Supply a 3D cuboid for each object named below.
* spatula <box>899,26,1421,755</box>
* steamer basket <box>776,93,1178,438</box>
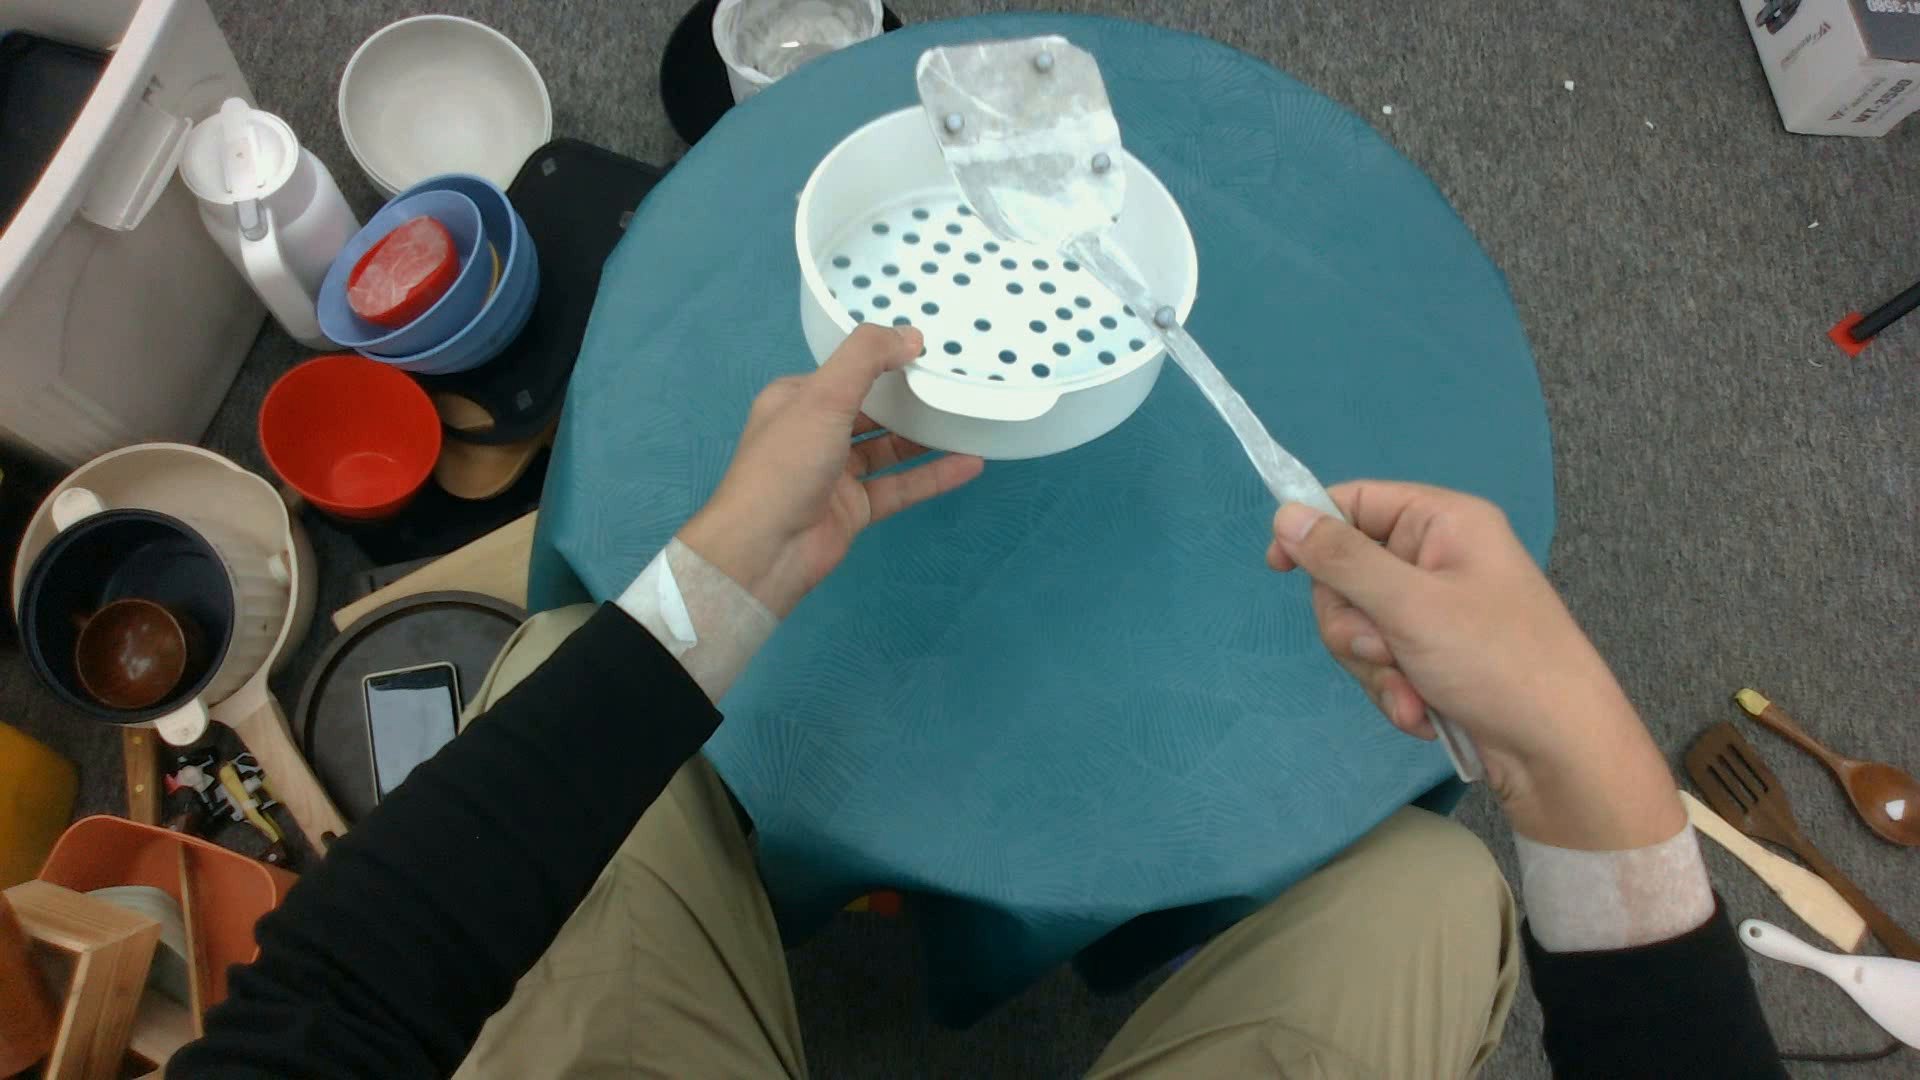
[{"bbox_3d":[0.086,-0.078,0.553,0.099,0.044,0.365,-14,59,-32],"label":"spatula"},{"bbox_3d":[0.007,-0.143,0.711,0.202,0.069,0.231,8,54,-3],"label":"steamer basket"}]
